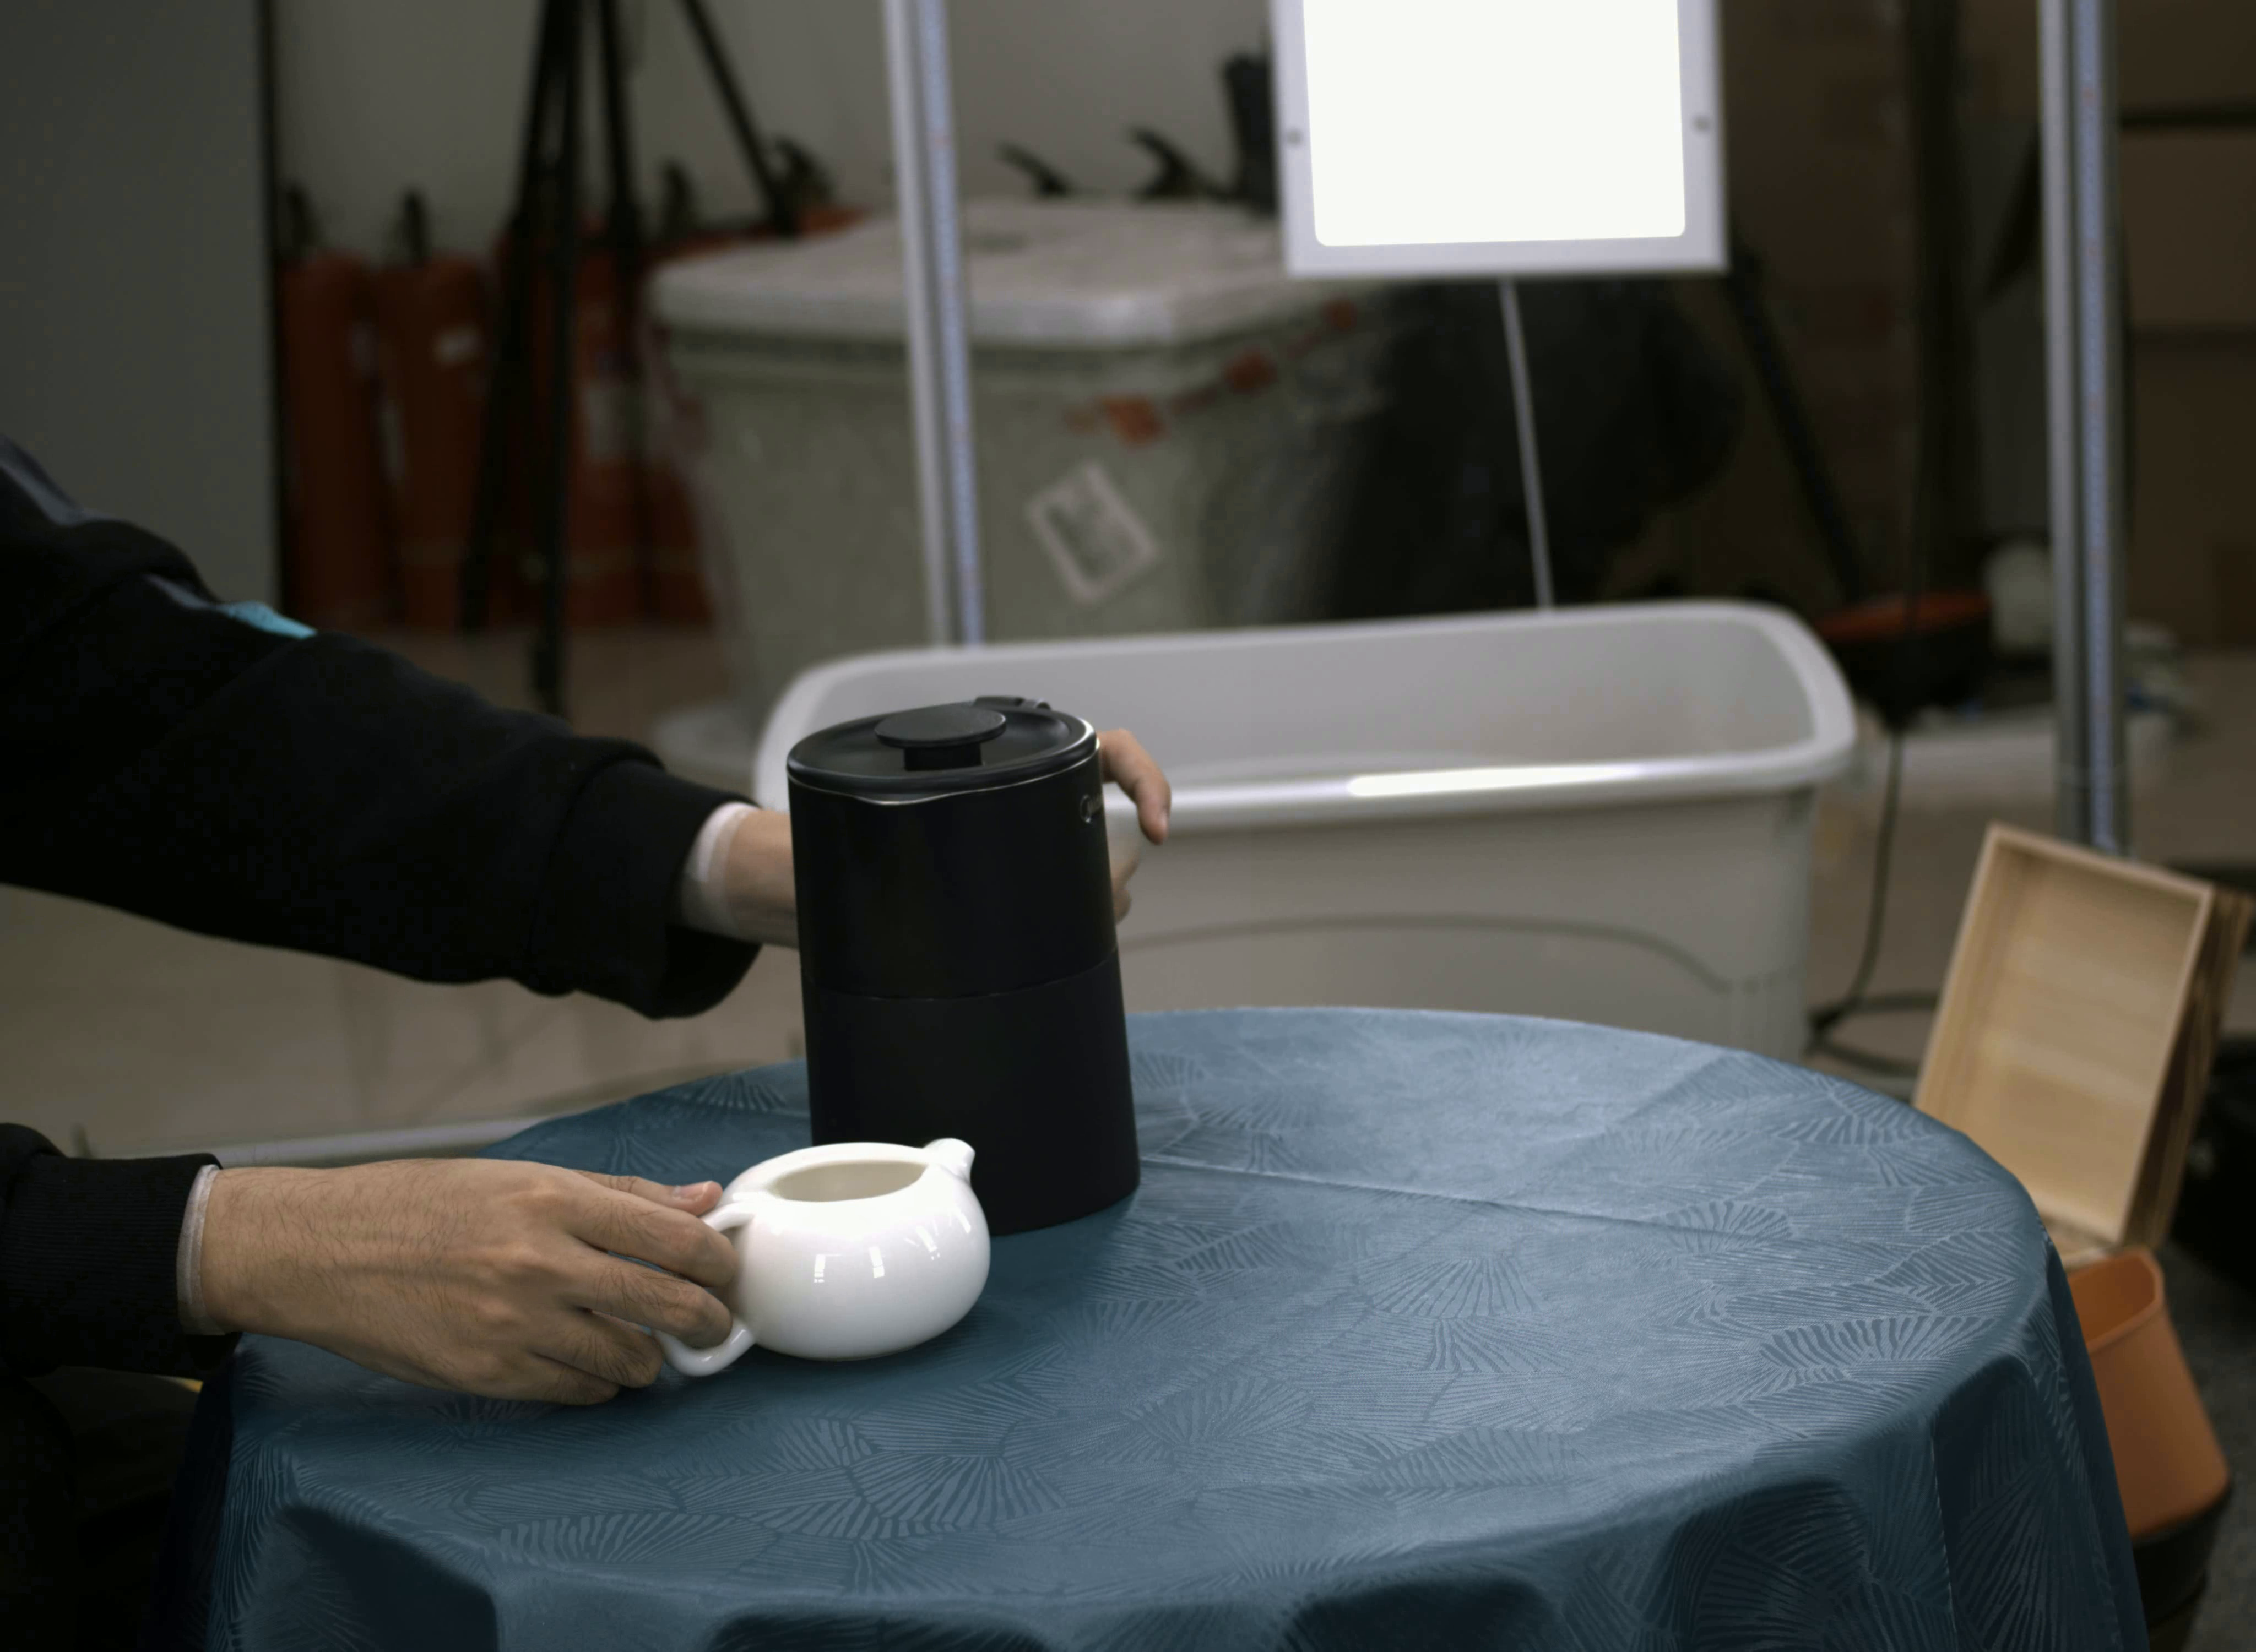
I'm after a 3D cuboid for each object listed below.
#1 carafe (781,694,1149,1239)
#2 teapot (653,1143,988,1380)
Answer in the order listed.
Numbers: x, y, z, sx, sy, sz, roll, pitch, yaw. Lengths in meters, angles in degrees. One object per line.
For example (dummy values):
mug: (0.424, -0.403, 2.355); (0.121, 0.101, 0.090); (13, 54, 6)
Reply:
carafe: (-0.054, 0.039, 1.913); (0.115, 0.174, 0.169); (-3, 16, 14)
teapot: (-0.099, 0.140, 1.762); (0.124, 0.057, 0.095); (-18, 22, -40)
